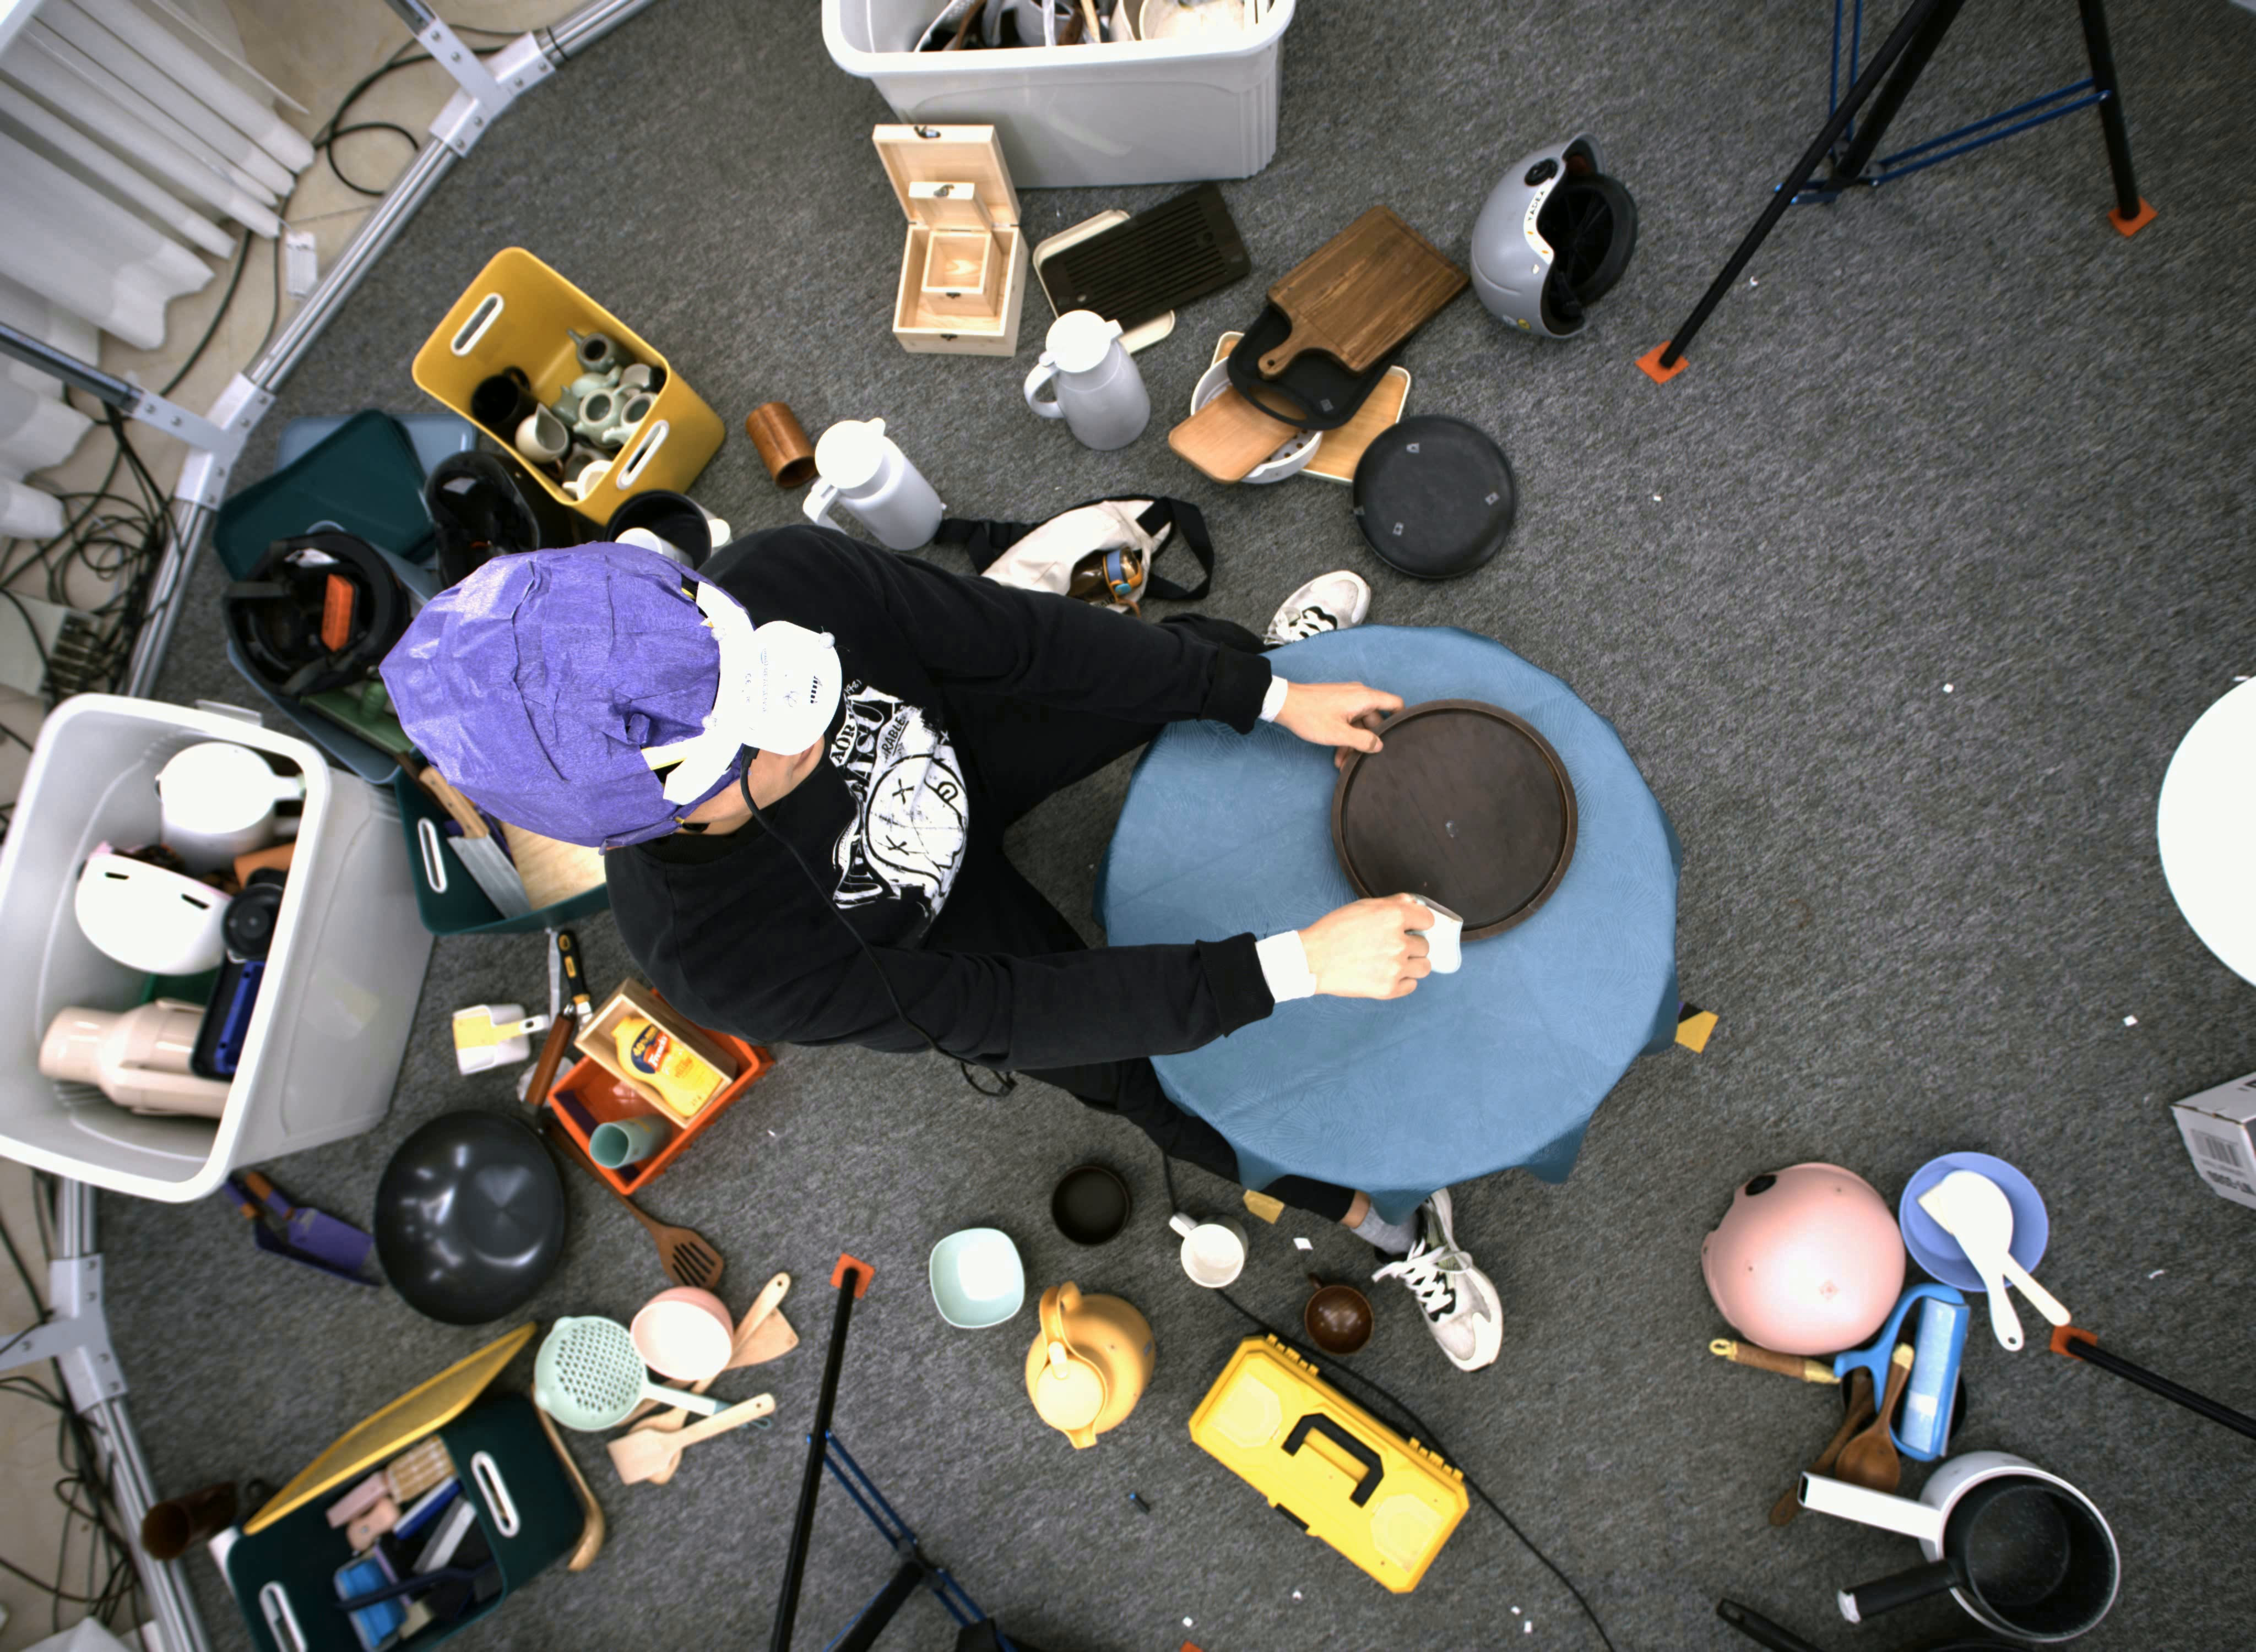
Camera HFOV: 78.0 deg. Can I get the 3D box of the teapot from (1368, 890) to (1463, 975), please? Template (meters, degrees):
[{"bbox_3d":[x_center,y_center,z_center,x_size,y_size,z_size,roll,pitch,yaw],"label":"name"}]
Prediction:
[{"bbox_3d":[0.277,0.098,1.312,0.095,0.136,0.062,32,100,22],"label":"teapot"}]

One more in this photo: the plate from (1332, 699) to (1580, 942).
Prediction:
[{"bbox_3d":[0.338,-0.007,1.428,0.255,0.029,0.255,0,94,7],"label":"plate"}]
